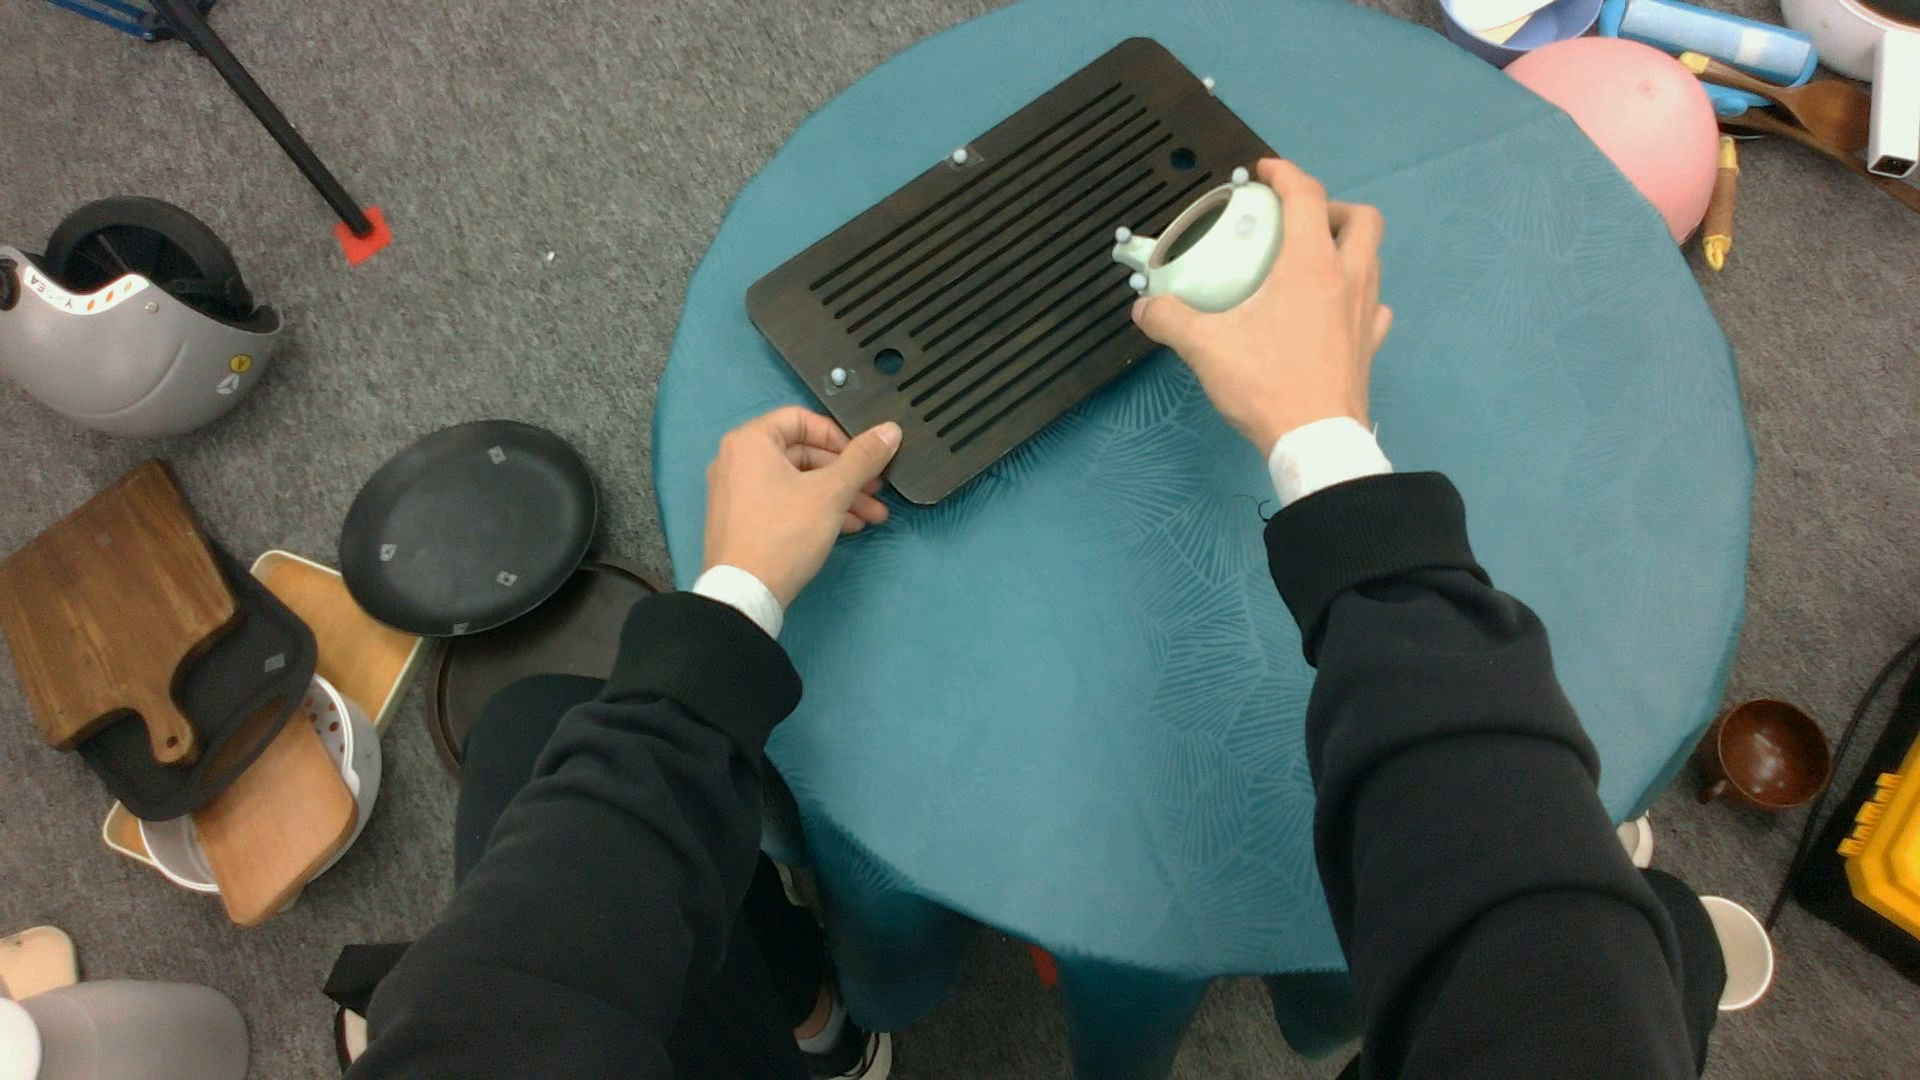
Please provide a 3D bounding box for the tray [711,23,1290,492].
[{"bbox_3d":[0.026,-0.169,0.784,0.306,0.018,0.170,-37,73,-15],"label":"tray"}]

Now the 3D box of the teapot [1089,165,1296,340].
[{"bbox_3d":[0.122,-0.143,0.684,0.074,0.143,0.088,41,77,-18],"label":"teapot"}]
